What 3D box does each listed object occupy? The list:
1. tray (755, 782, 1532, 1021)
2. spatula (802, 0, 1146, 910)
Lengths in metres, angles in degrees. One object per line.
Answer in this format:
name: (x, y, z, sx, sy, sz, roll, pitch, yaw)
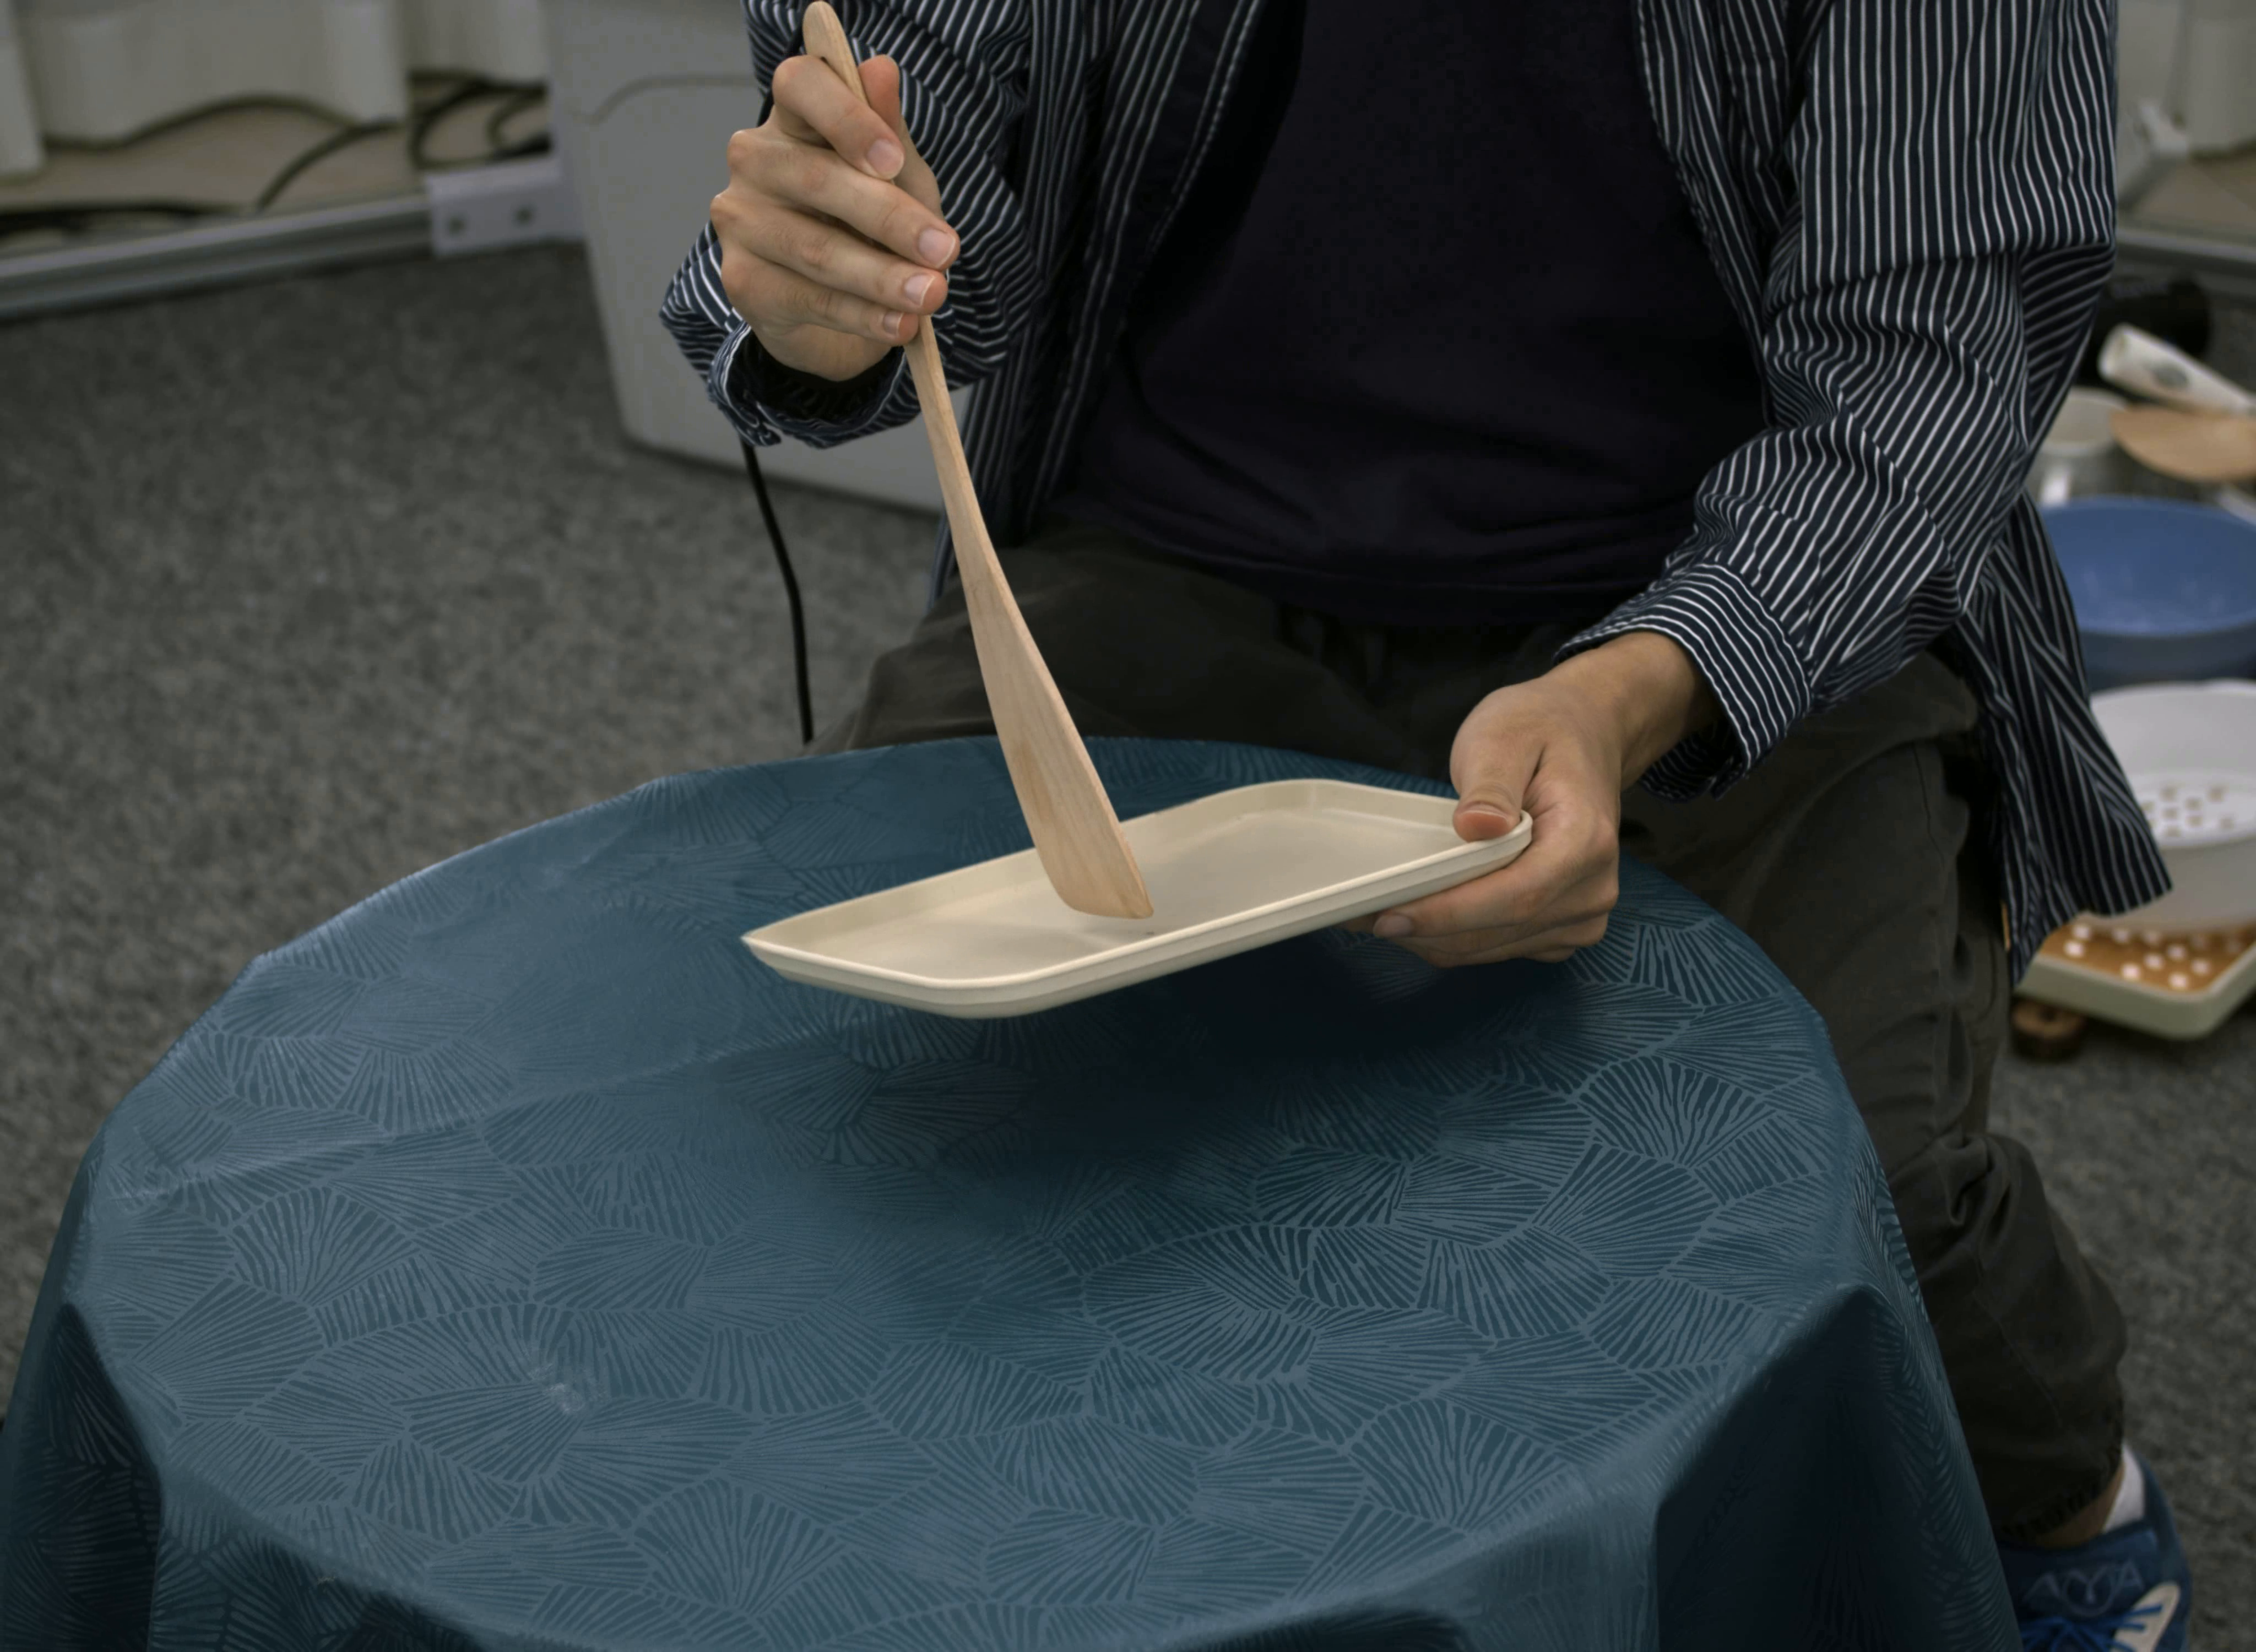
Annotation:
tray: (0.006, 0.025, 1.908, 0.241, 0.017, 0.170, -16, 13, -31)
spatula: (-0.057, -0.125, 1.878, 0.016, 0.329, 0.079, -14, -5, -22)
